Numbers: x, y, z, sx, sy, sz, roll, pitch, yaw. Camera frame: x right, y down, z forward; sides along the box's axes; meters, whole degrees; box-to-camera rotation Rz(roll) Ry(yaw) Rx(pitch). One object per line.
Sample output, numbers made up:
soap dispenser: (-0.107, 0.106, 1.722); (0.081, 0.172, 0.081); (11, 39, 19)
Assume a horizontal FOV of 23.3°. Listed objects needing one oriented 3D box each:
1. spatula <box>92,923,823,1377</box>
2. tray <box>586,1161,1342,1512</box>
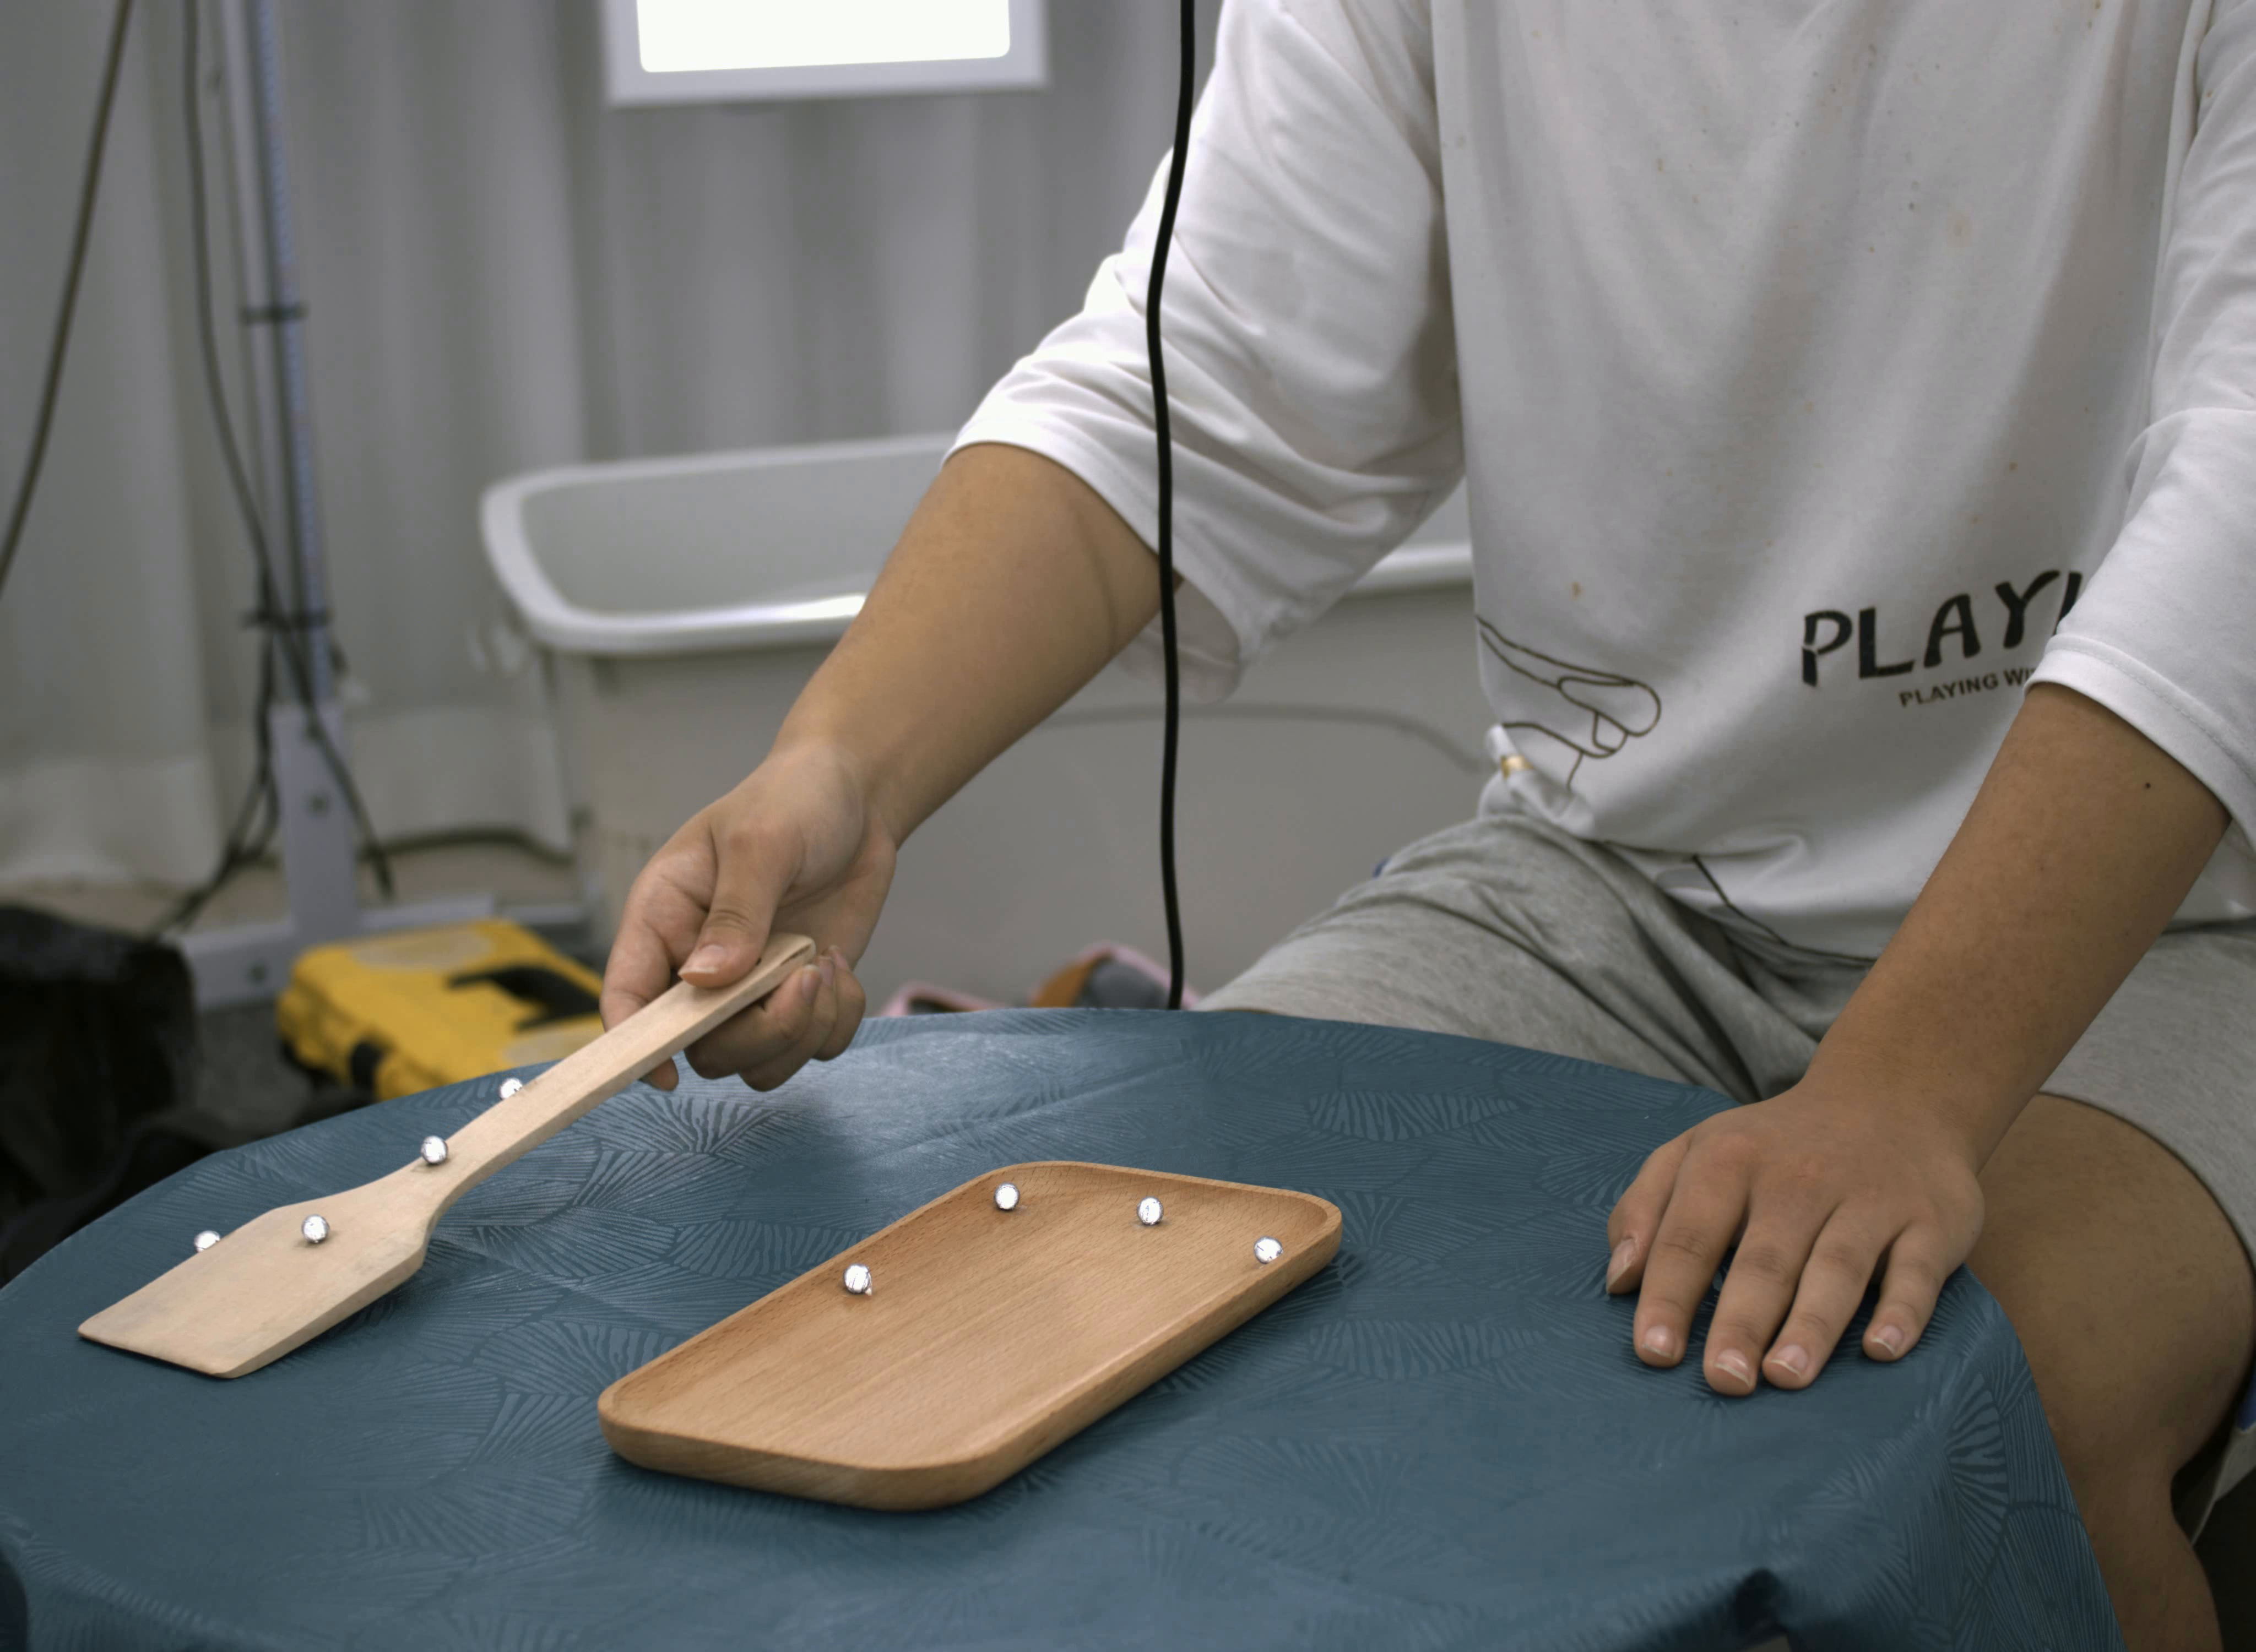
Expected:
spatula: (-0.197, 0.096, 1.708); (0.072, 0.010, 0.294); (9, 31, 38)
tray: (-0.043, 0.145, 1.581); (0.131, 0.023, 0.251); (4, 16, 31)
